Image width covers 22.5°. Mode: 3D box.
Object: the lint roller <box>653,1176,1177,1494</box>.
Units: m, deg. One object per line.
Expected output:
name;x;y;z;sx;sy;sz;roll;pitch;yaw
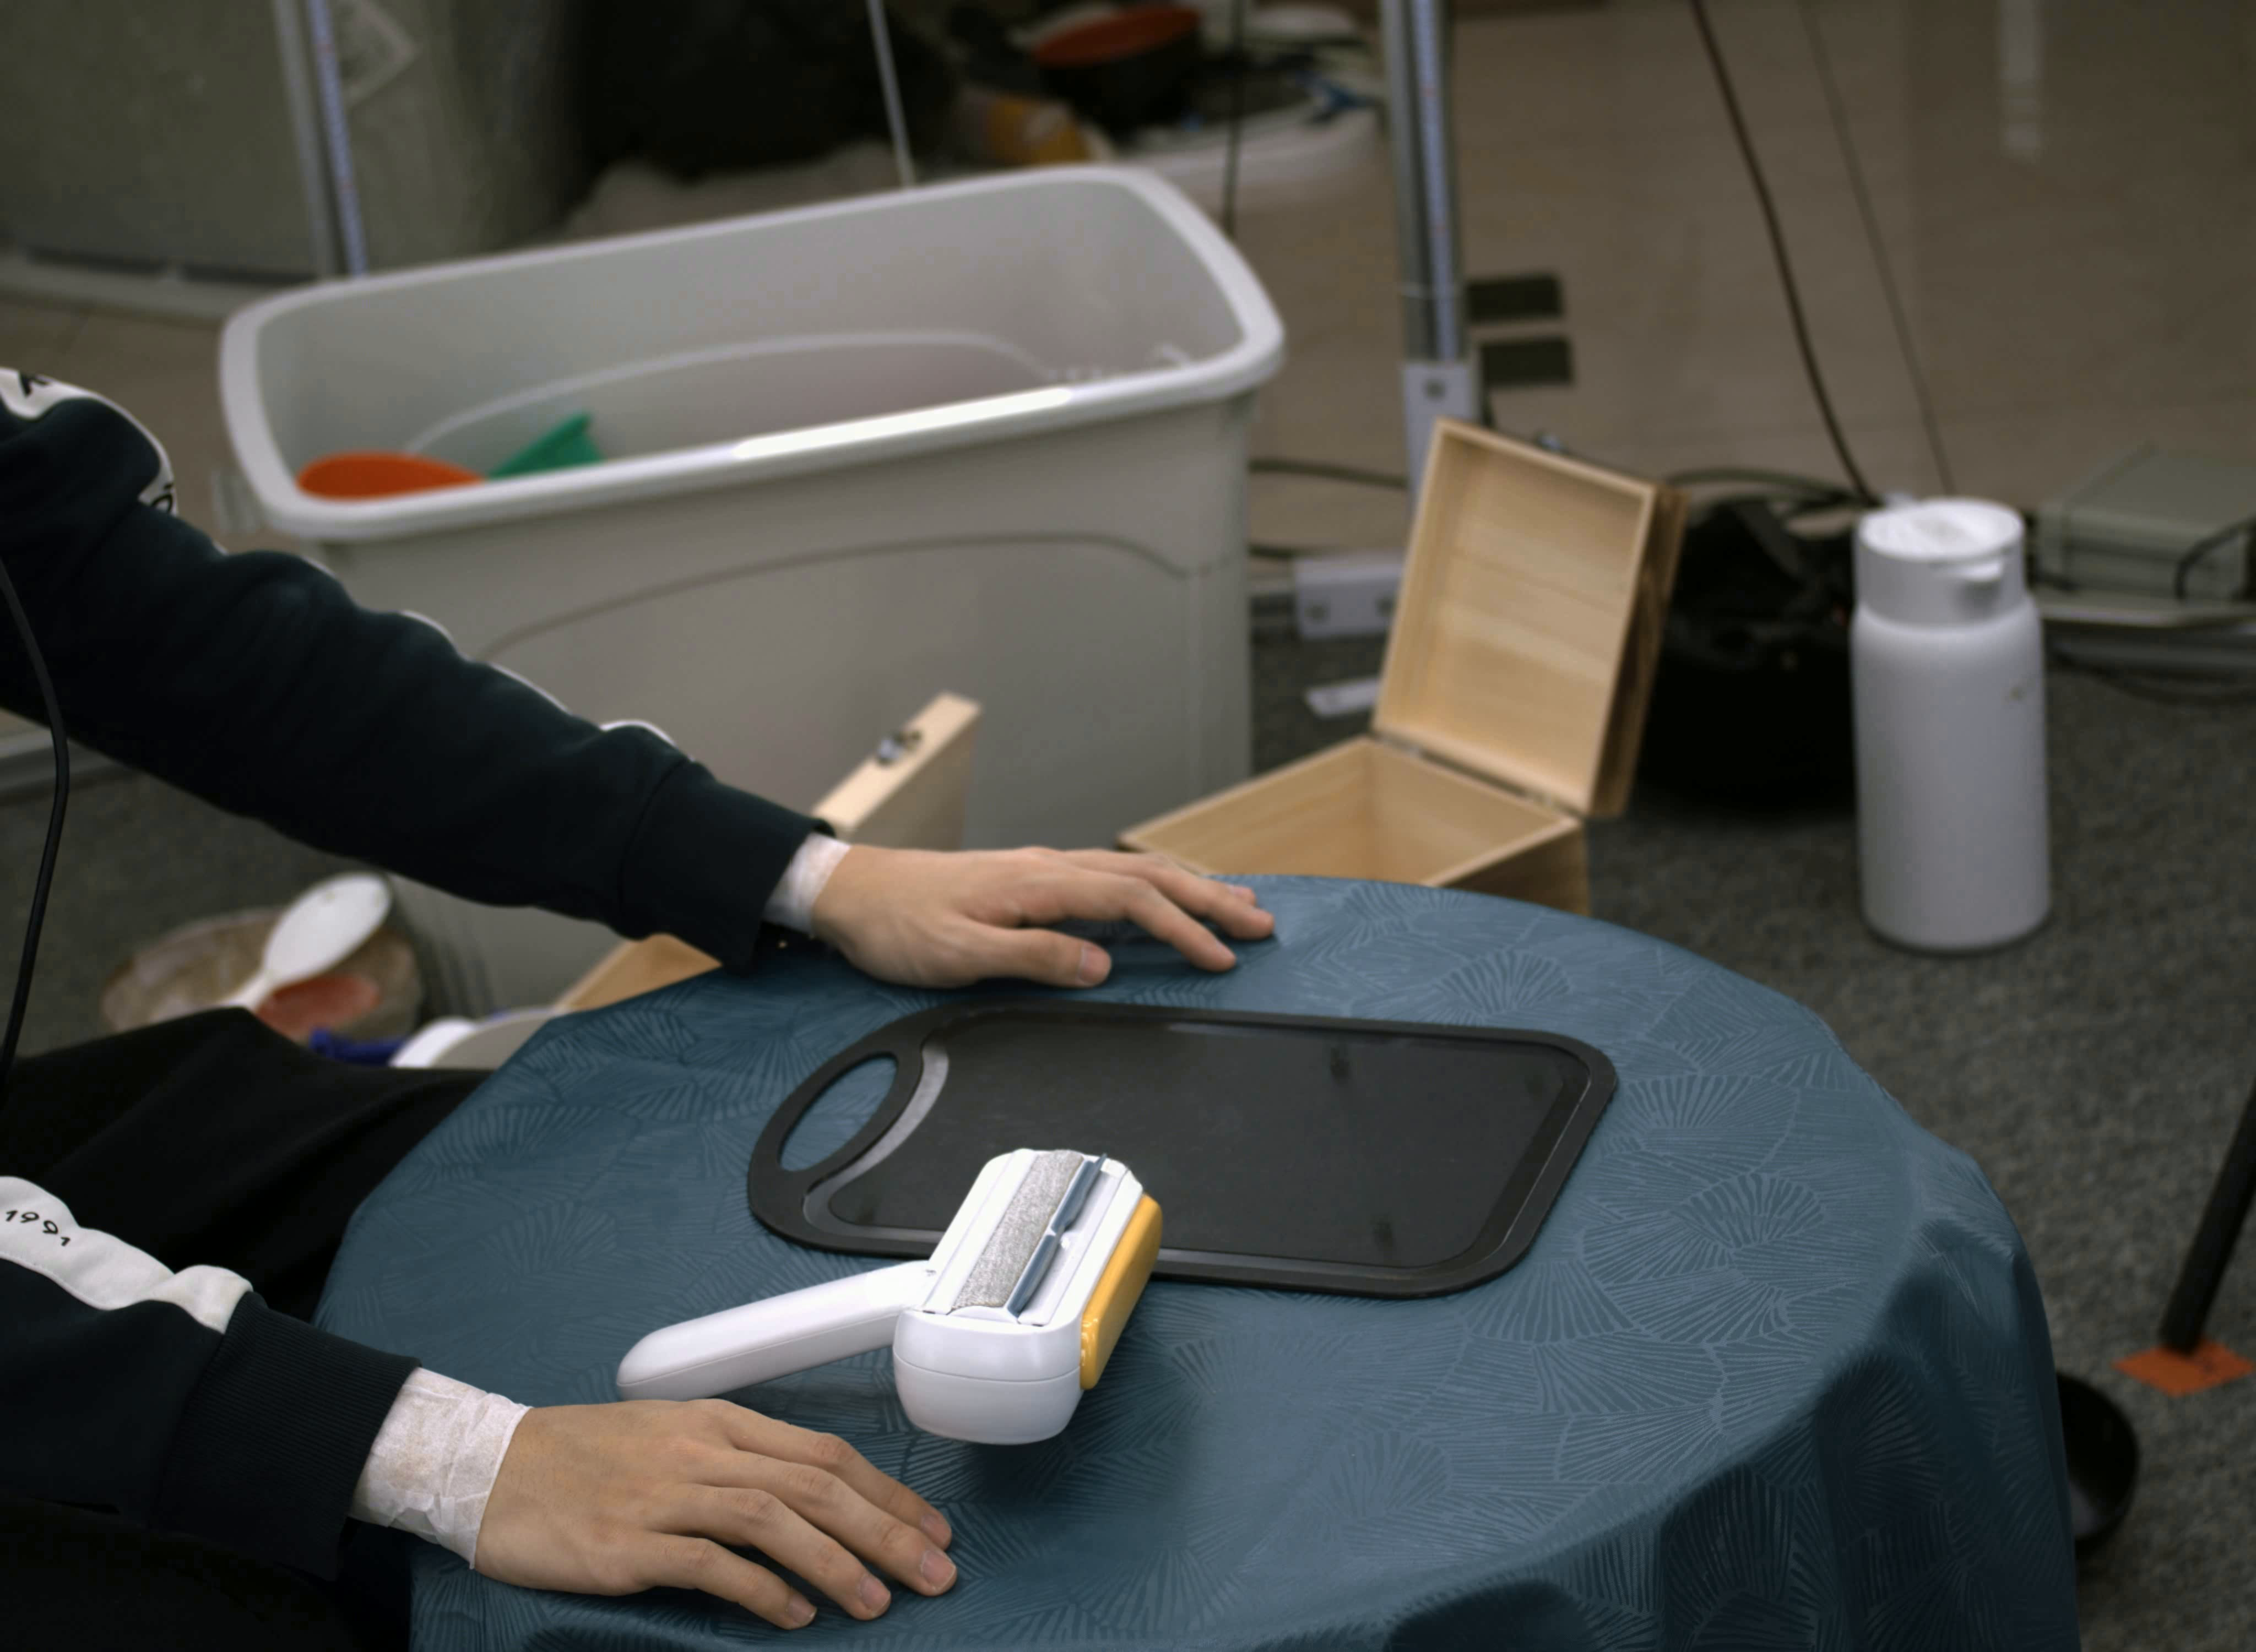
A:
lint roller;-0.088;0.191;2.017;0.192;0.075;0.190;-13;15;20

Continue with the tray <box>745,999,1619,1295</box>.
tray;0.014;0.119;2.176;0.324;0.010;0.208;3;26;20
